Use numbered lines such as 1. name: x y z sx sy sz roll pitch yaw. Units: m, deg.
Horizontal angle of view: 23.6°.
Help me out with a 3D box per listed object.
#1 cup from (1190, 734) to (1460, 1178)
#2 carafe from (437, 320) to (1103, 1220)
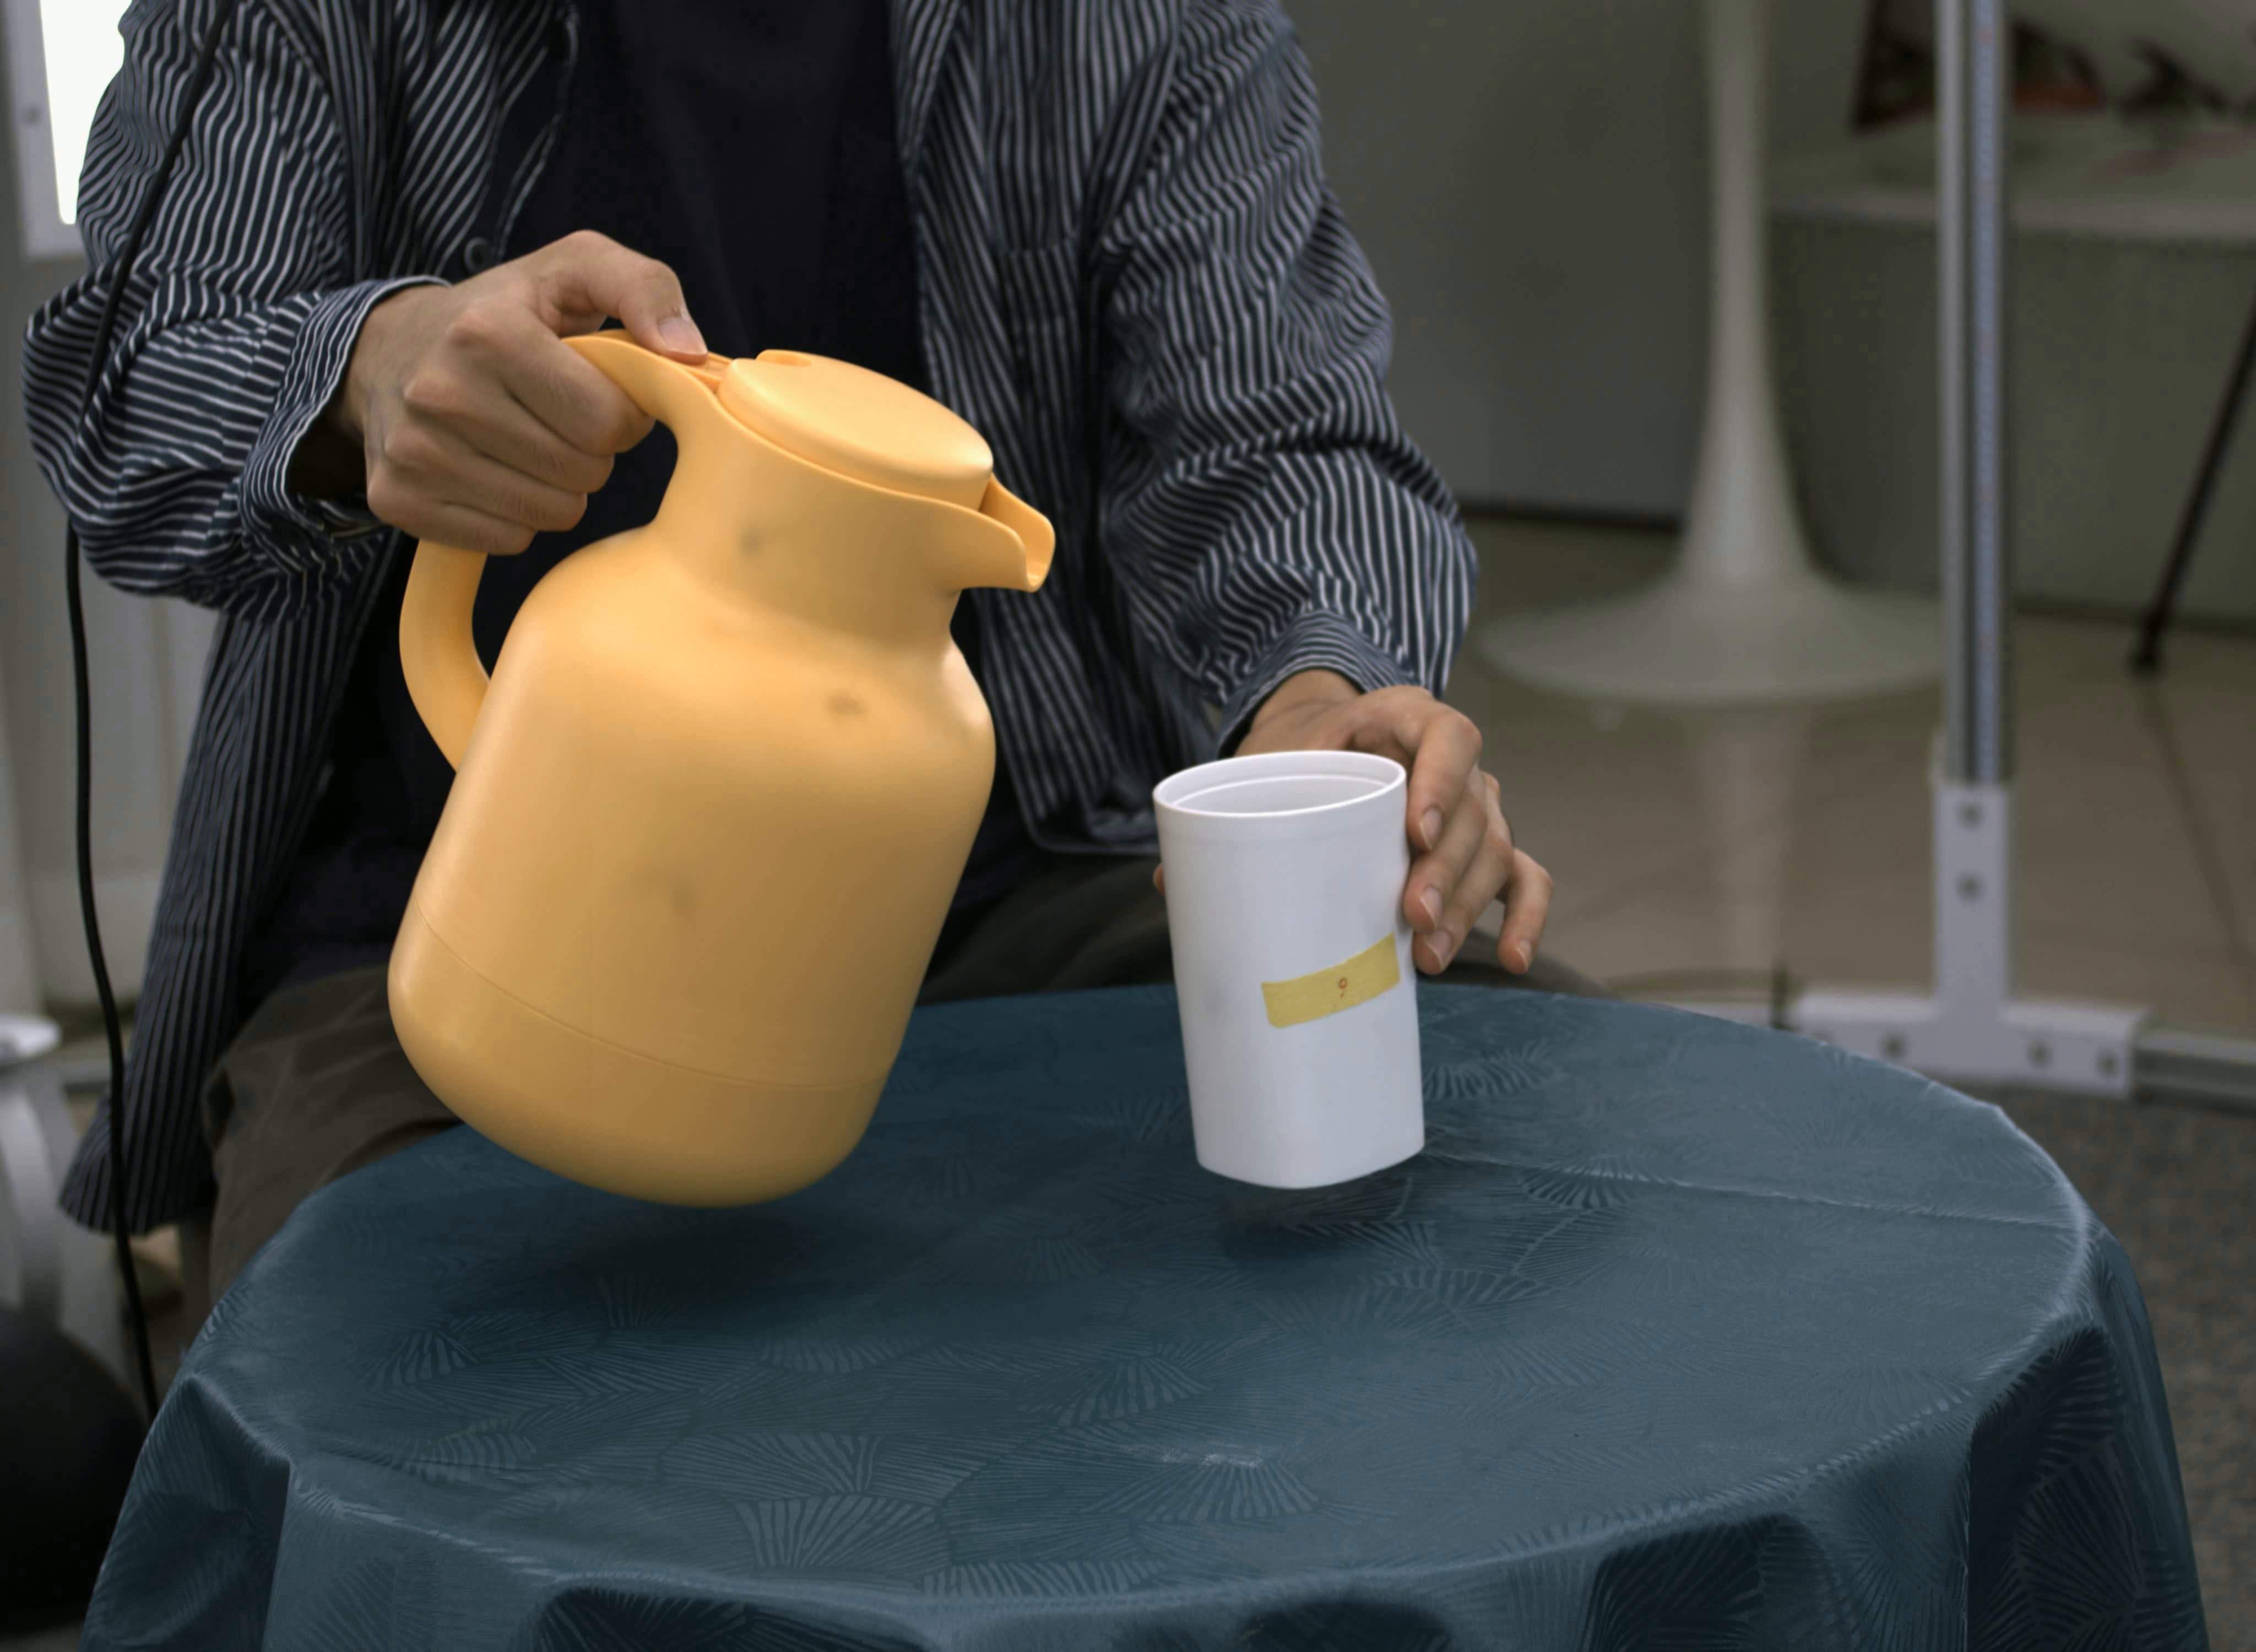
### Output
1. cup: 0.065 0.041 1.710 0.080 0.127 0.082 -6 12 0
2. carafe: -0.126 -0.027 1.703 0.202 0.263 0.161 26 18 15
